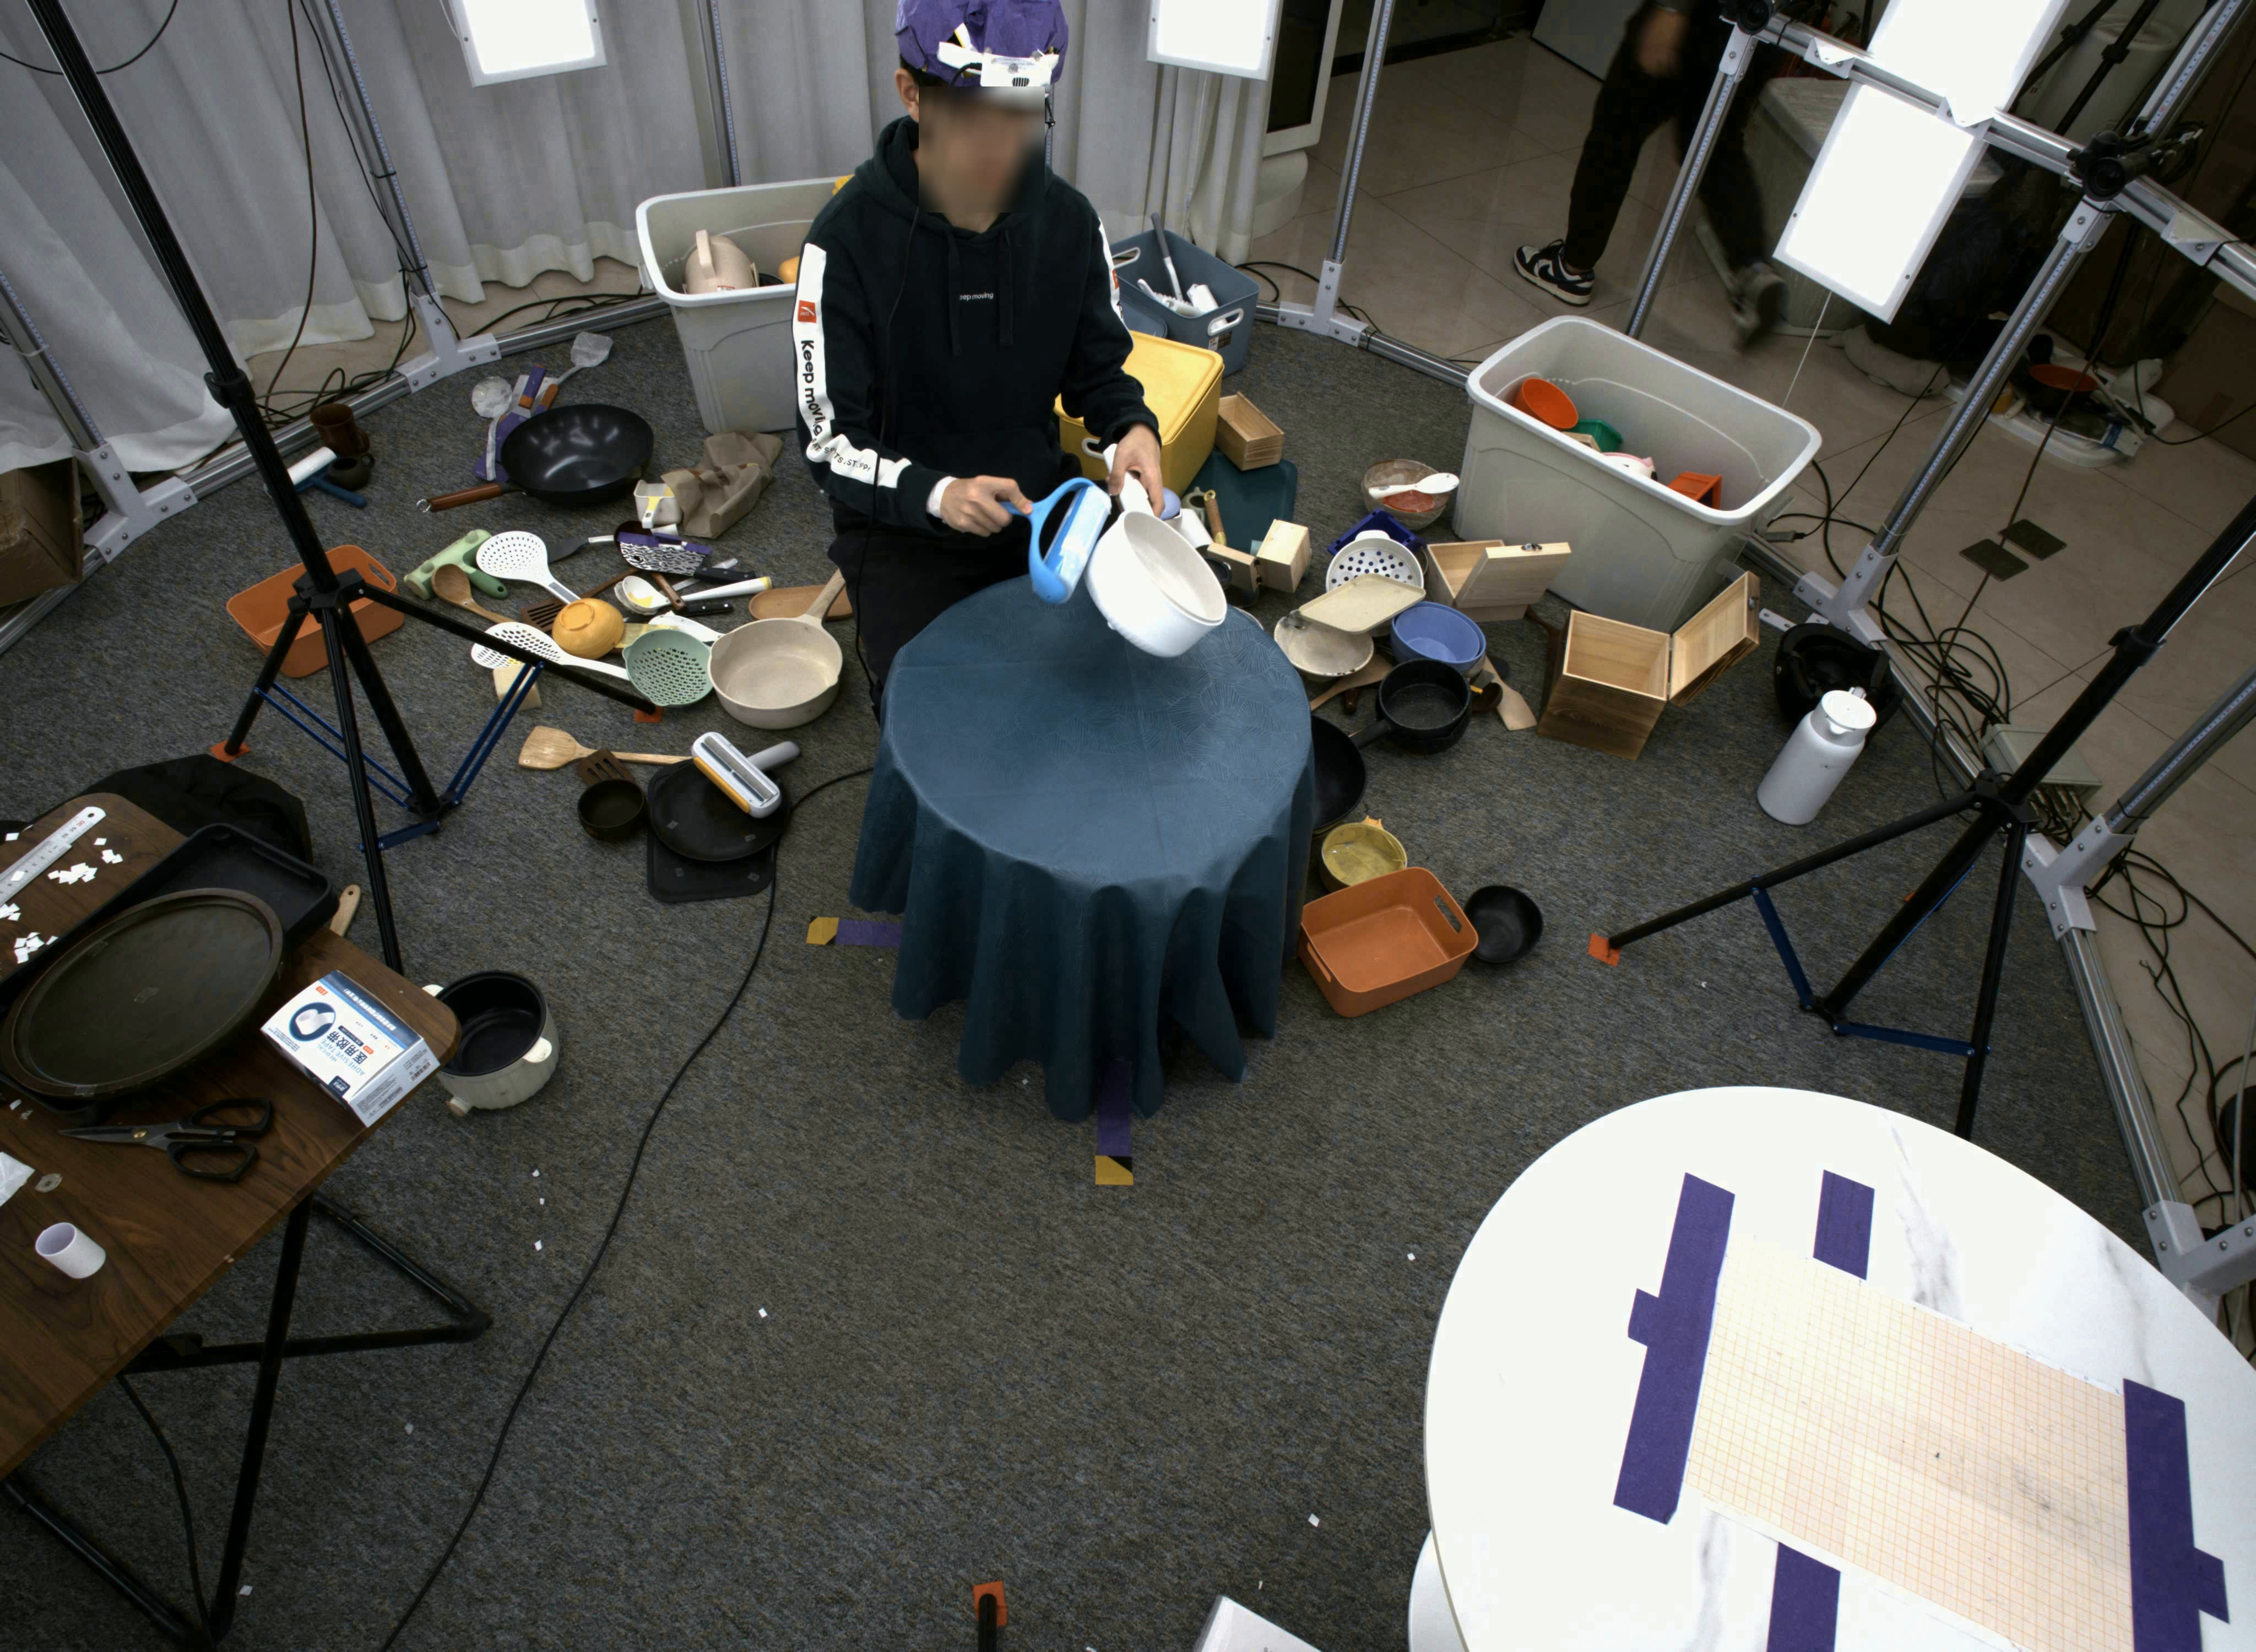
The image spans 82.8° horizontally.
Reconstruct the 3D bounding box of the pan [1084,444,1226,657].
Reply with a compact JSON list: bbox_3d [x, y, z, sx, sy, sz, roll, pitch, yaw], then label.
[{"bbox_3d":[0.012,-0.391,1.820,0.198,0.101,0.363,20,40,-43],"label":"pan"}]

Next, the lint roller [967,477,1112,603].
[{"bbox_3d":[-0.127,-0.402,1.736,0.180,0.066,0.234,18,51,-3],"label":"lint roller"}]
